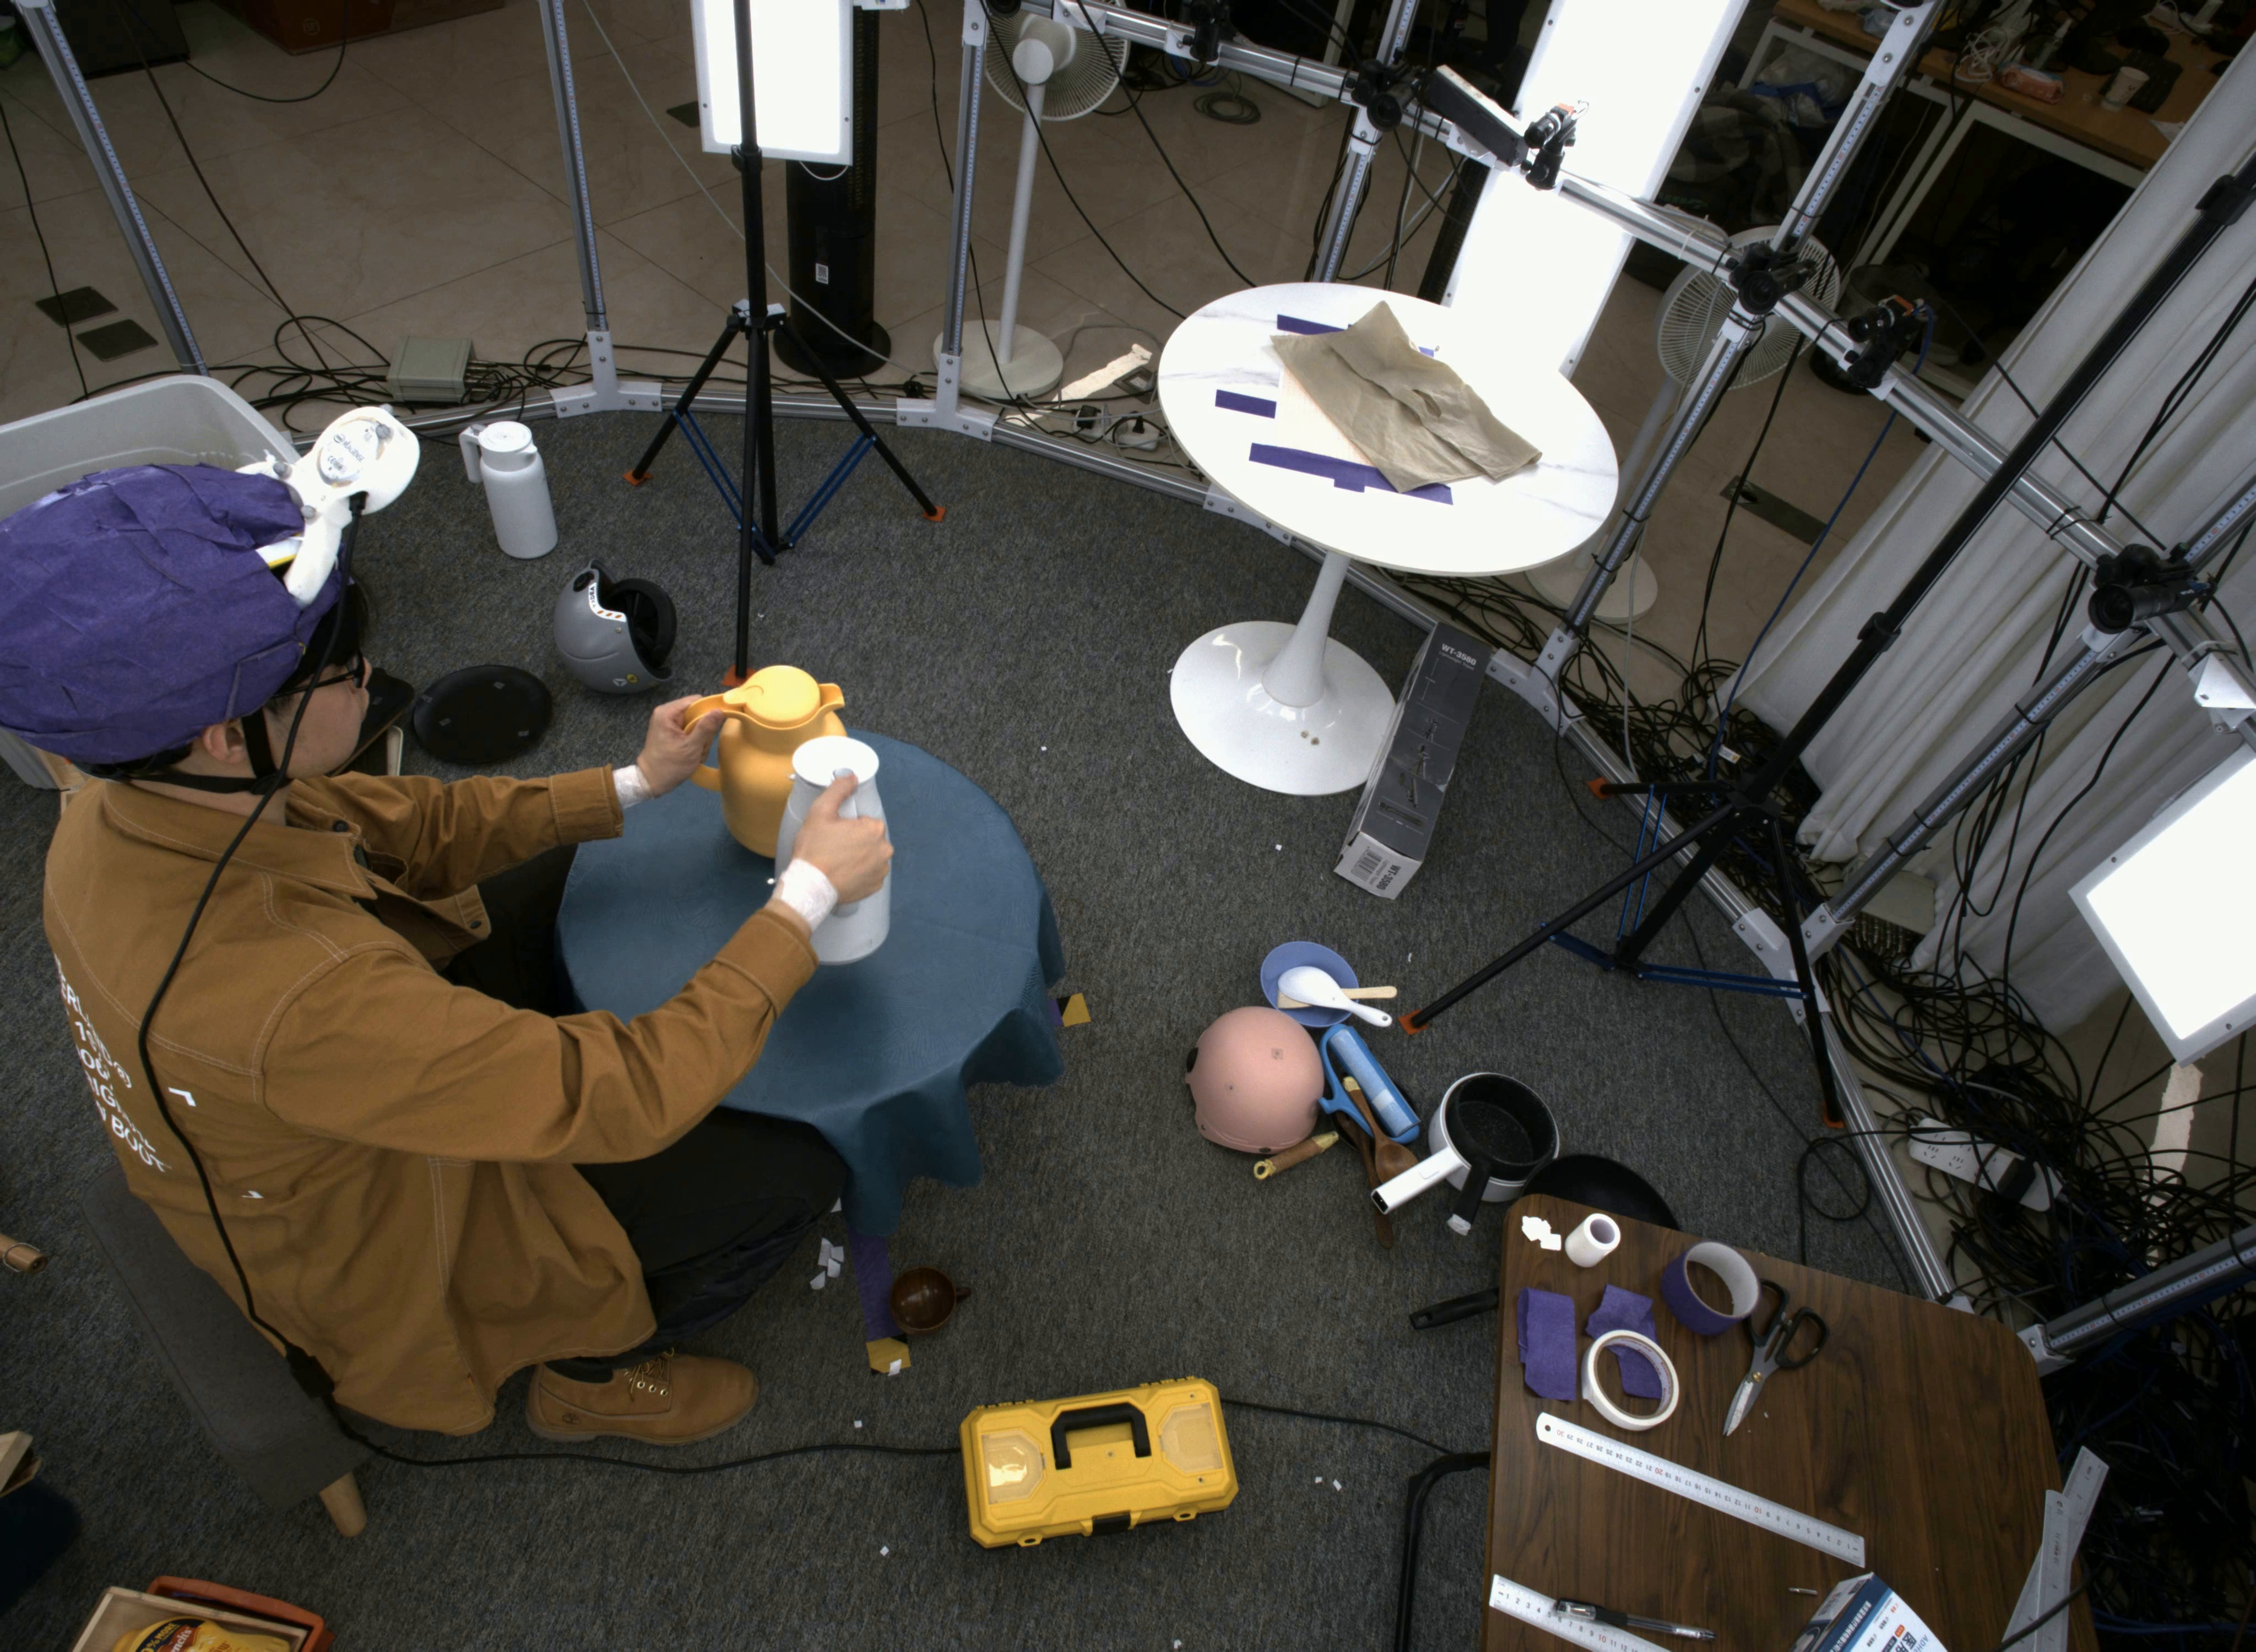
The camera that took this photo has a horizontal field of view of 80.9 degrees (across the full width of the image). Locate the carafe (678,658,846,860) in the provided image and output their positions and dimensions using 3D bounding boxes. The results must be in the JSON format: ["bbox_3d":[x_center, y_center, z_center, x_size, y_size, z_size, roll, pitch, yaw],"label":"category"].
[{"bbox_3d":[-0.447,-0.088,1.592,0.203,0.265,0.159,-4,54,-17],"label":"carafe"}]

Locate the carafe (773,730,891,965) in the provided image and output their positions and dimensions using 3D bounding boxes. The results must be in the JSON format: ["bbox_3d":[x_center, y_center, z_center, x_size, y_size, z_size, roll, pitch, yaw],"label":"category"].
[{"bbox_3d":[-0.321,0.029,1.426,0.133,0.255,0.162,-7,42,-21],"label":"carafe"}]
